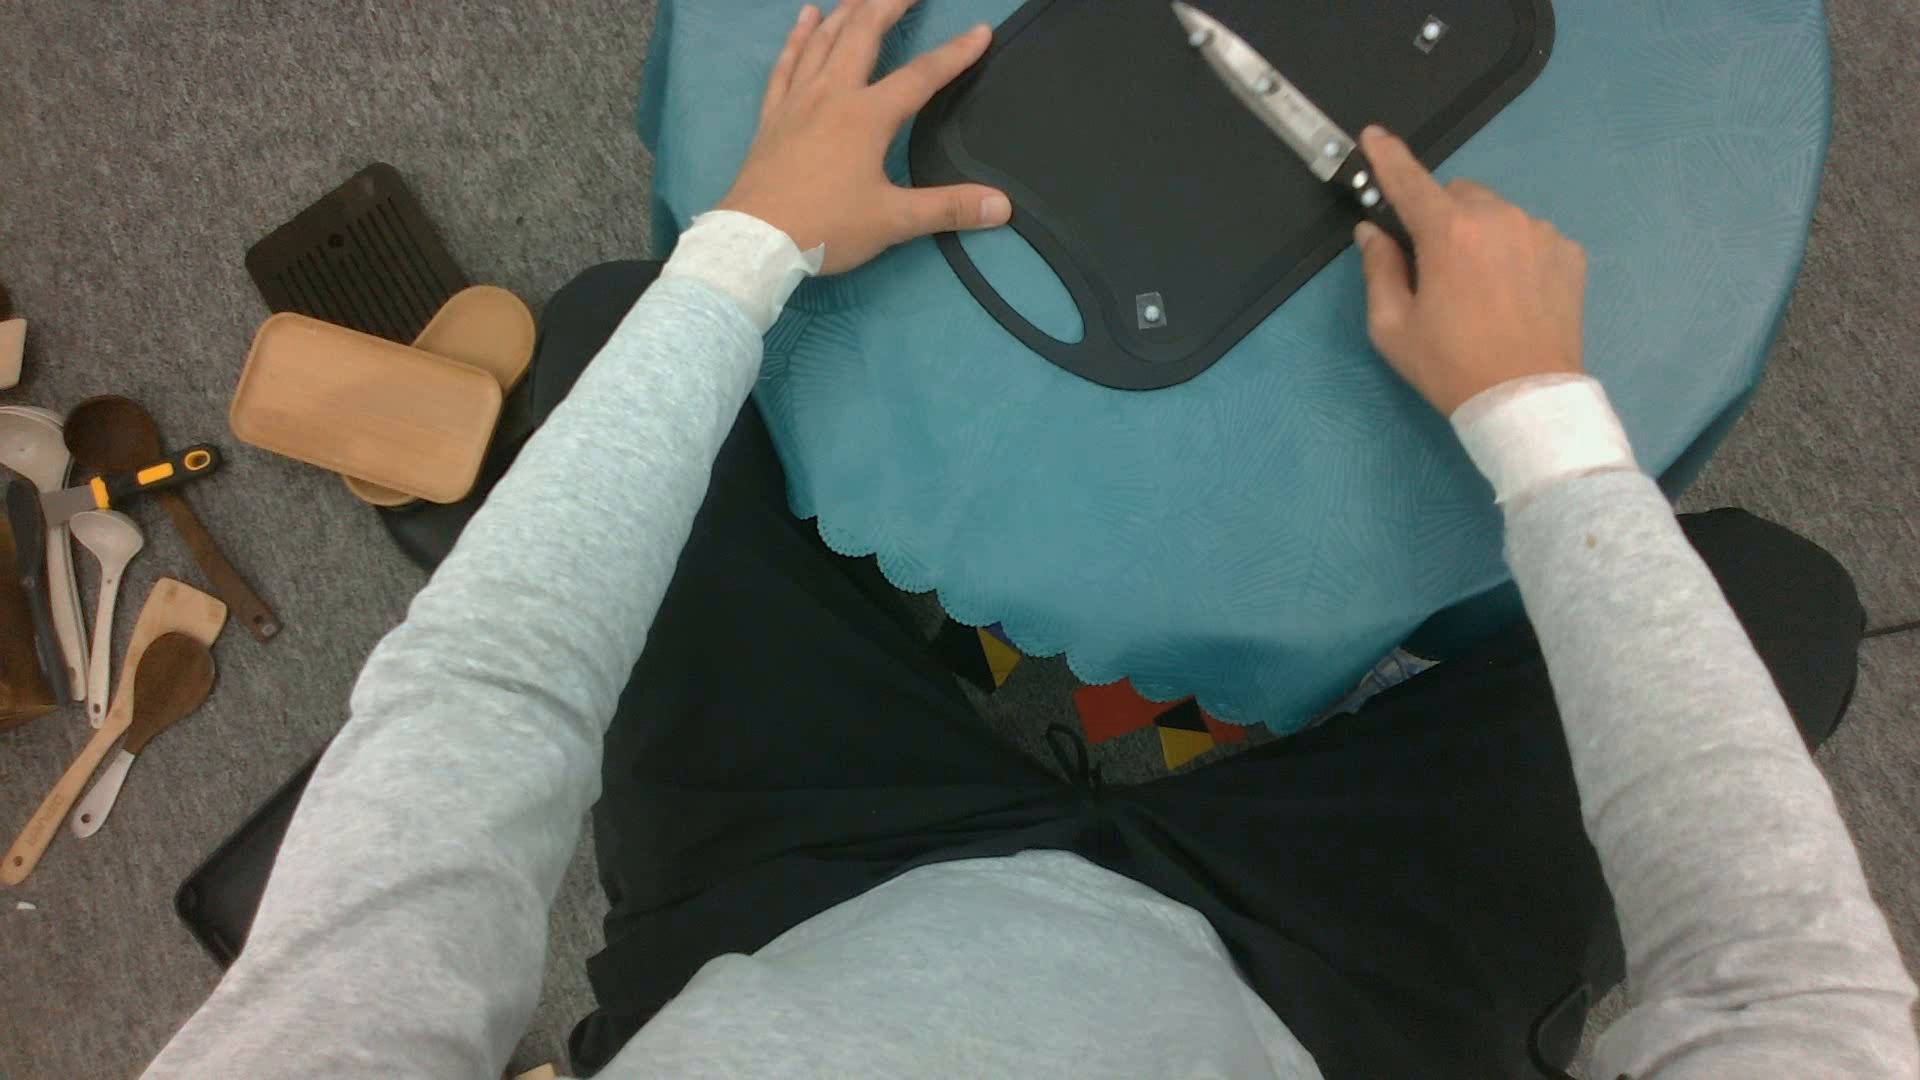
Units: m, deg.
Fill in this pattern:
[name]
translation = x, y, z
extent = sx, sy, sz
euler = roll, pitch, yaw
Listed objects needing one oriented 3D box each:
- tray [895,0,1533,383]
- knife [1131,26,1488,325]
[tray]
translation = 0.125, -0.234, 0.716
extent = 0.325, 0.010, 0.211
euler = -41, 83, -1
[knife]
translation = 0.173, -0.191, 0.693
extent = 0.238, 0.016, 0.024
euler = 45, 127, 15
